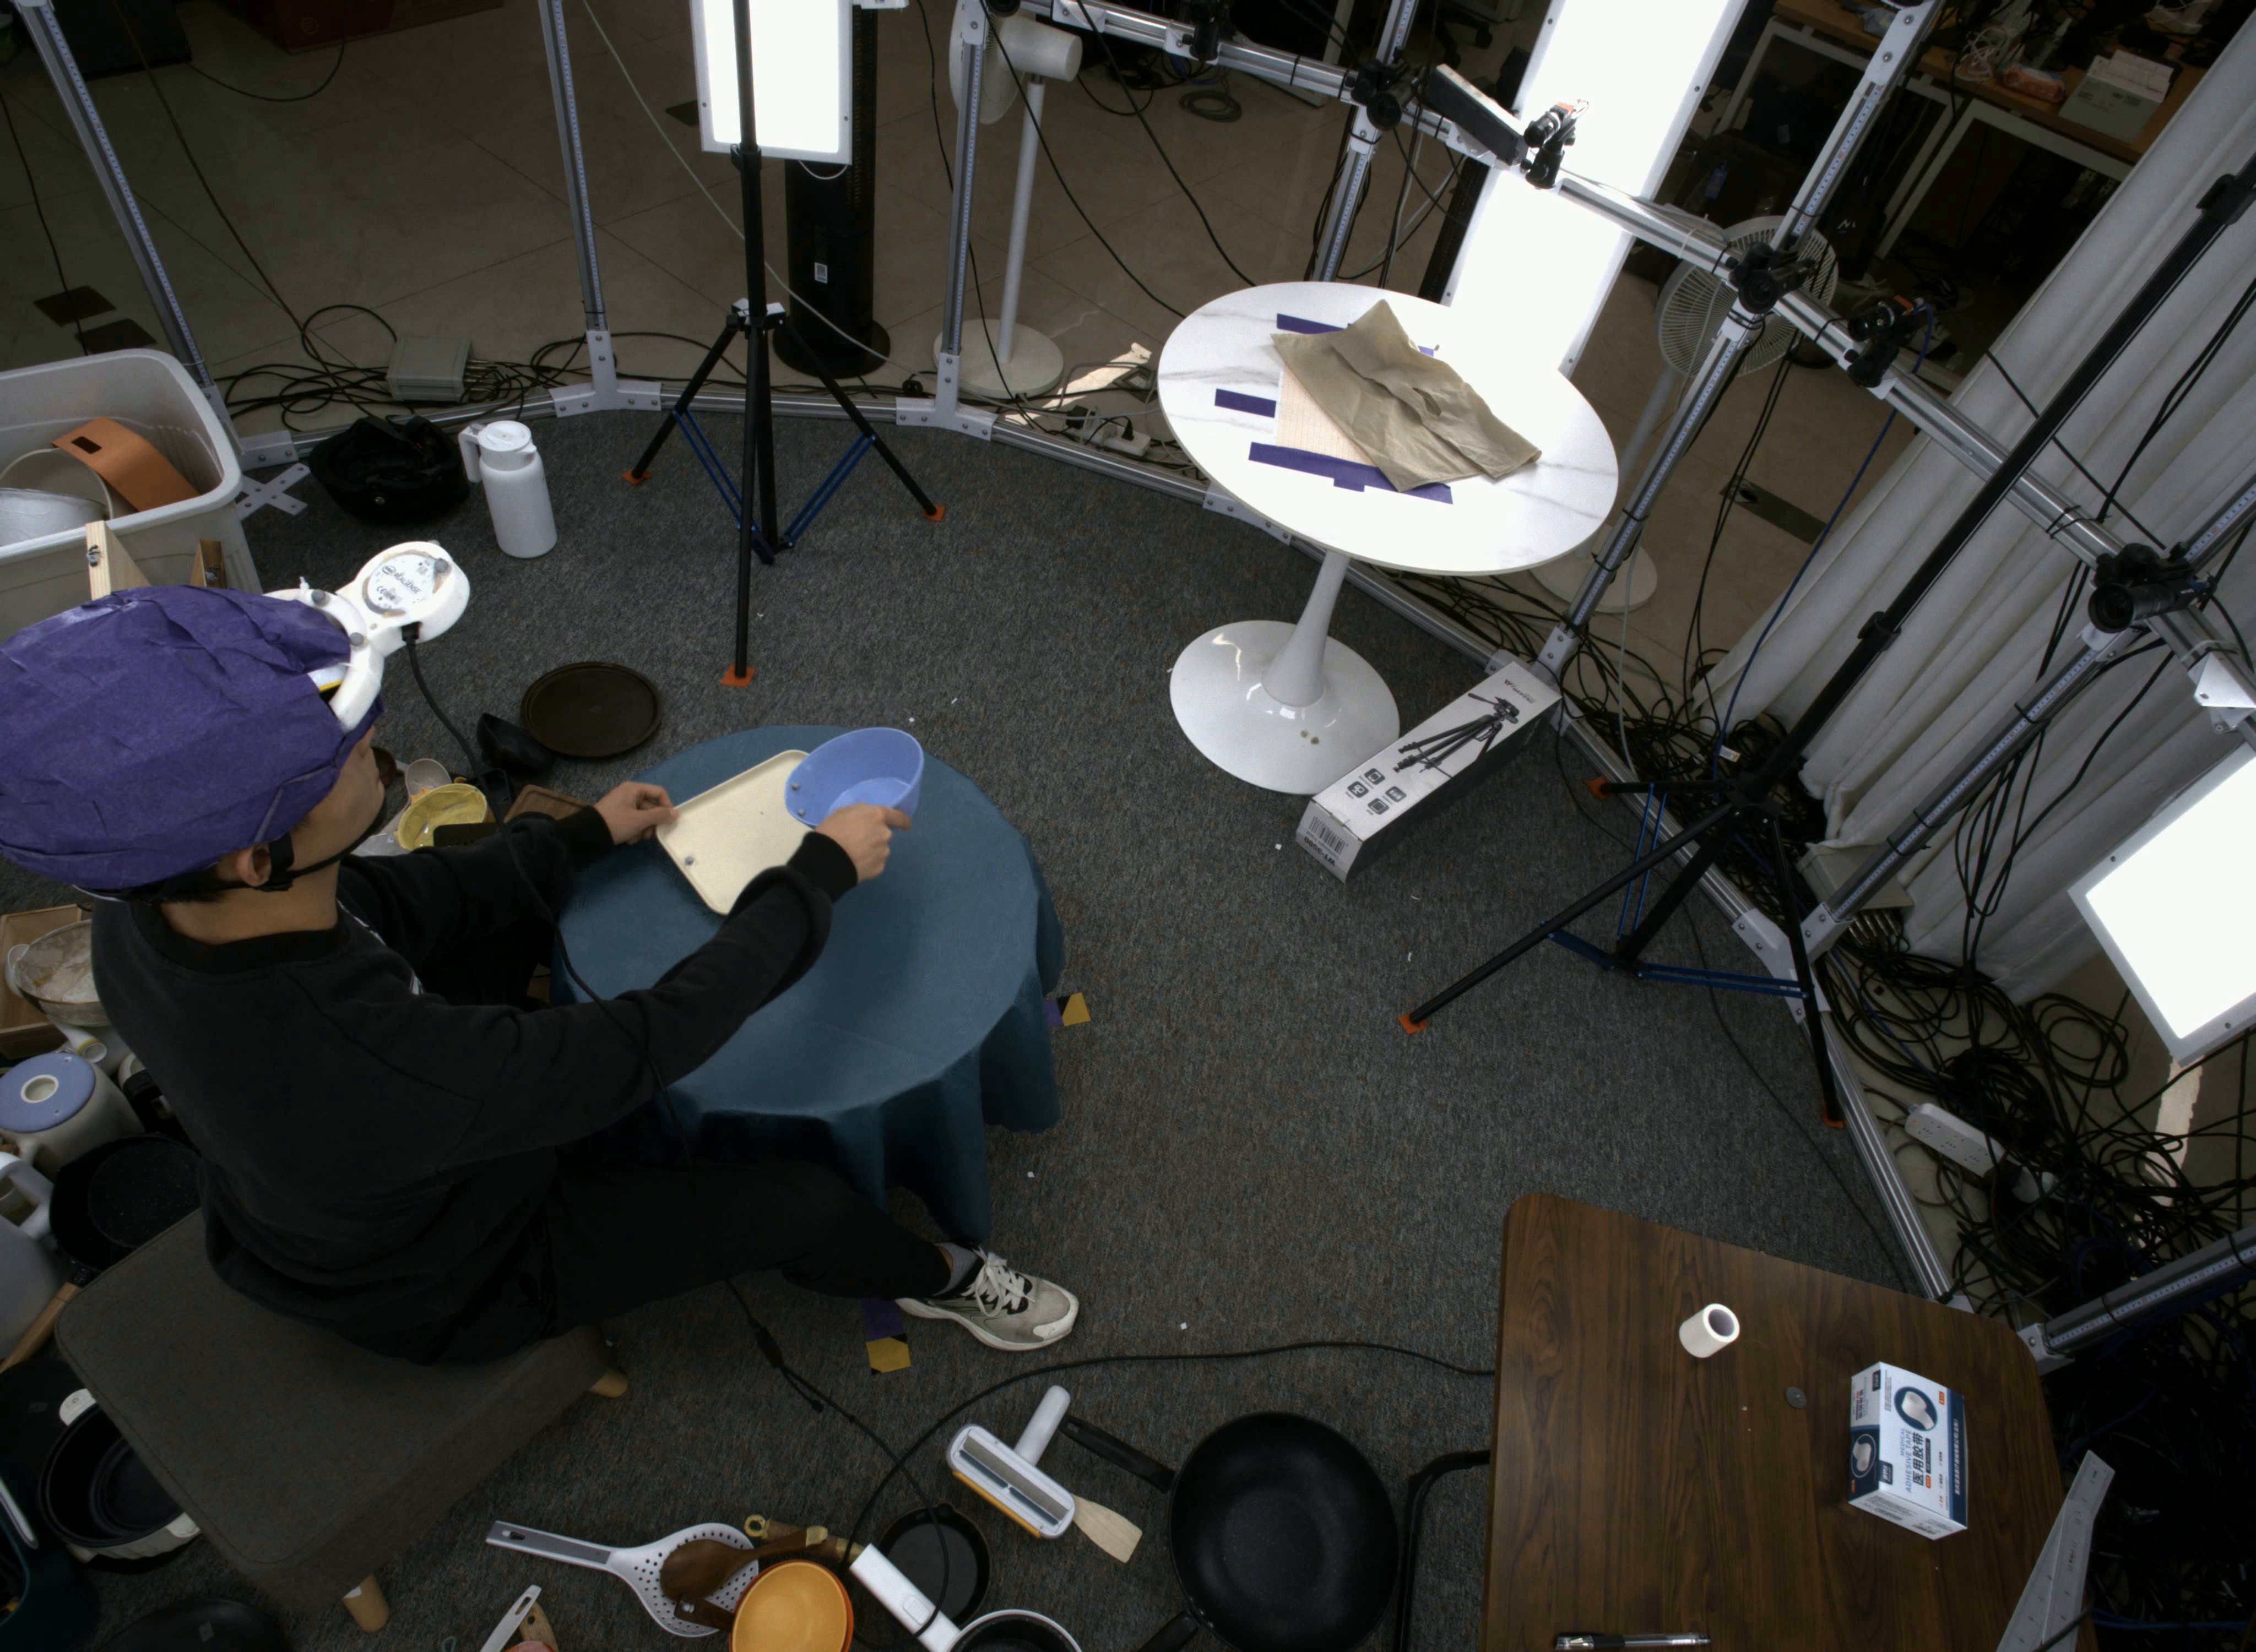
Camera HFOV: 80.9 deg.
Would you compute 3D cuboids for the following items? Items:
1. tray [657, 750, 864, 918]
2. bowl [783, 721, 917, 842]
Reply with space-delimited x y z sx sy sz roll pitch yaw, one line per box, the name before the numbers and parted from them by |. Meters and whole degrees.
tray | -0.475 0.007 1.683 0.240 0.017 0.169 -35 77 -34
bowl | -0.329 -0.045 1.590 0.173 0.073 0.172 -10 43 11
